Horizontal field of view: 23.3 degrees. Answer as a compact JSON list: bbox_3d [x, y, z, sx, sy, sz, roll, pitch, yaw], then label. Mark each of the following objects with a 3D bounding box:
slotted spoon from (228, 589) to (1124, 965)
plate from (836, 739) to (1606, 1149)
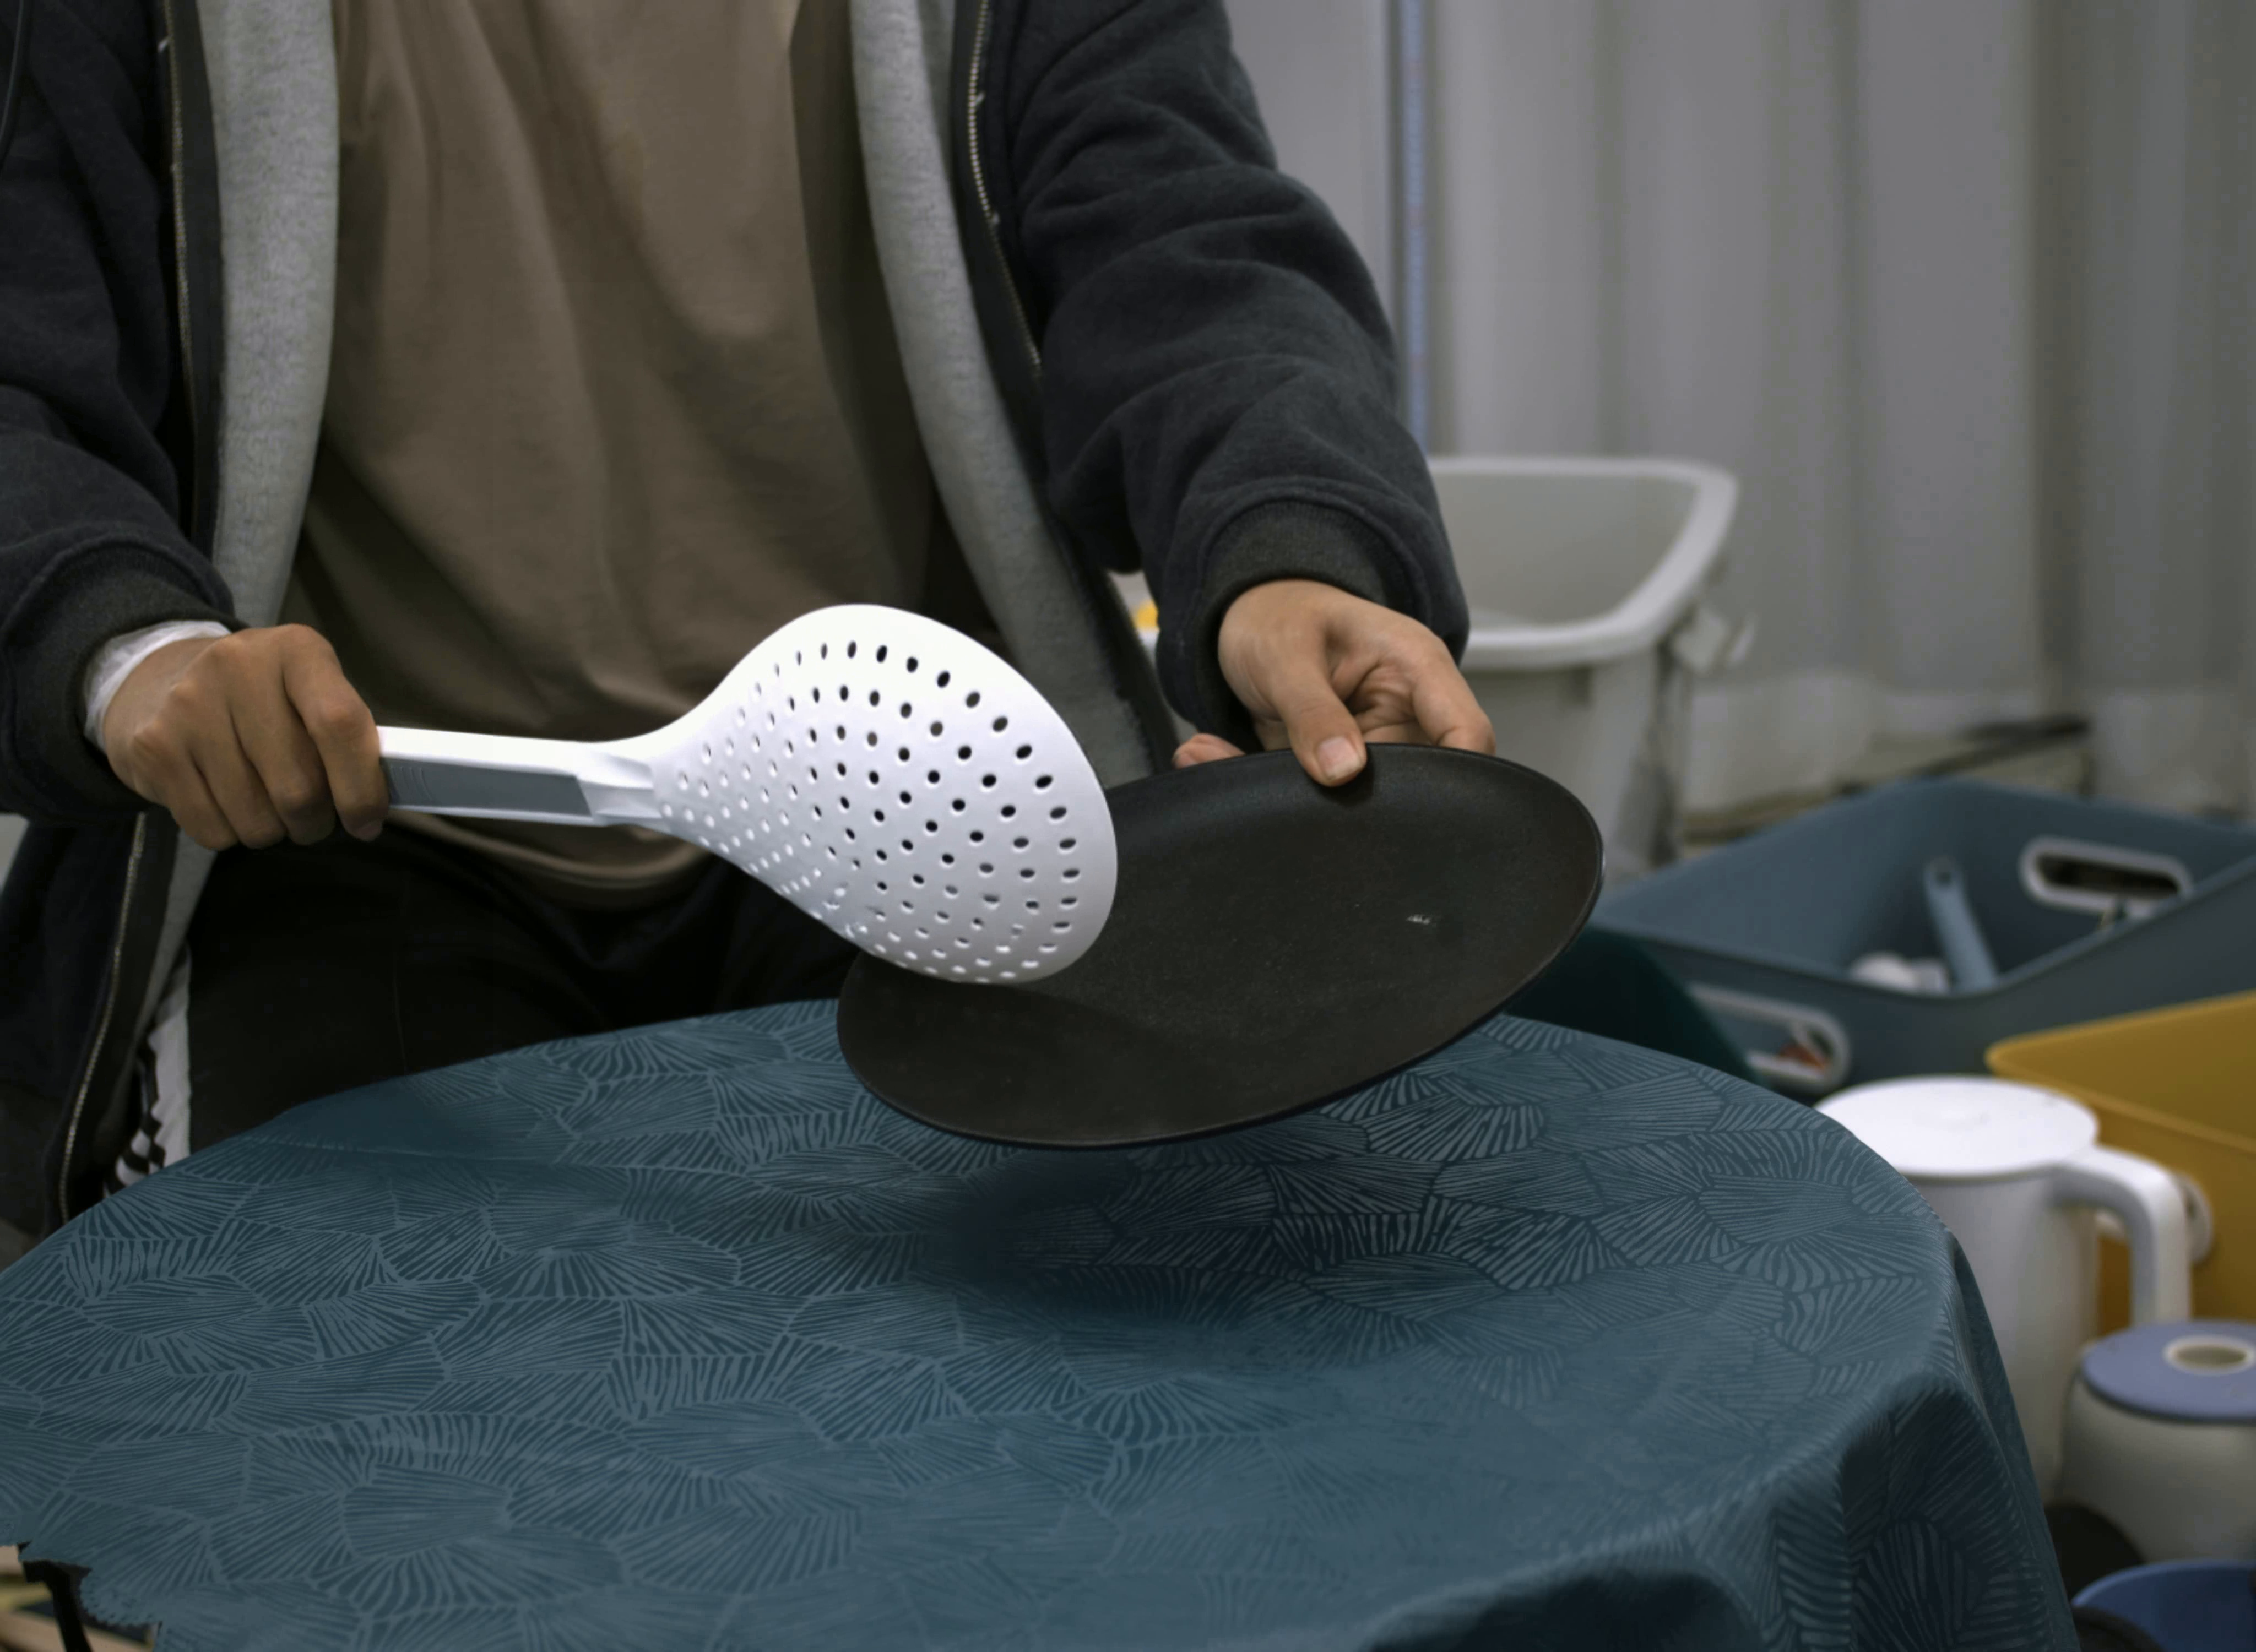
[{"bbox_3d":[-0.153,-0.016,1.738,0.351,0.134,0.046,7,36,38],"label":"slotted spoon"},{"bbox_3d":[0.029,0.040,1.685,0.244,0.023,0.247,-12,26,5],"label":"plate"}]
